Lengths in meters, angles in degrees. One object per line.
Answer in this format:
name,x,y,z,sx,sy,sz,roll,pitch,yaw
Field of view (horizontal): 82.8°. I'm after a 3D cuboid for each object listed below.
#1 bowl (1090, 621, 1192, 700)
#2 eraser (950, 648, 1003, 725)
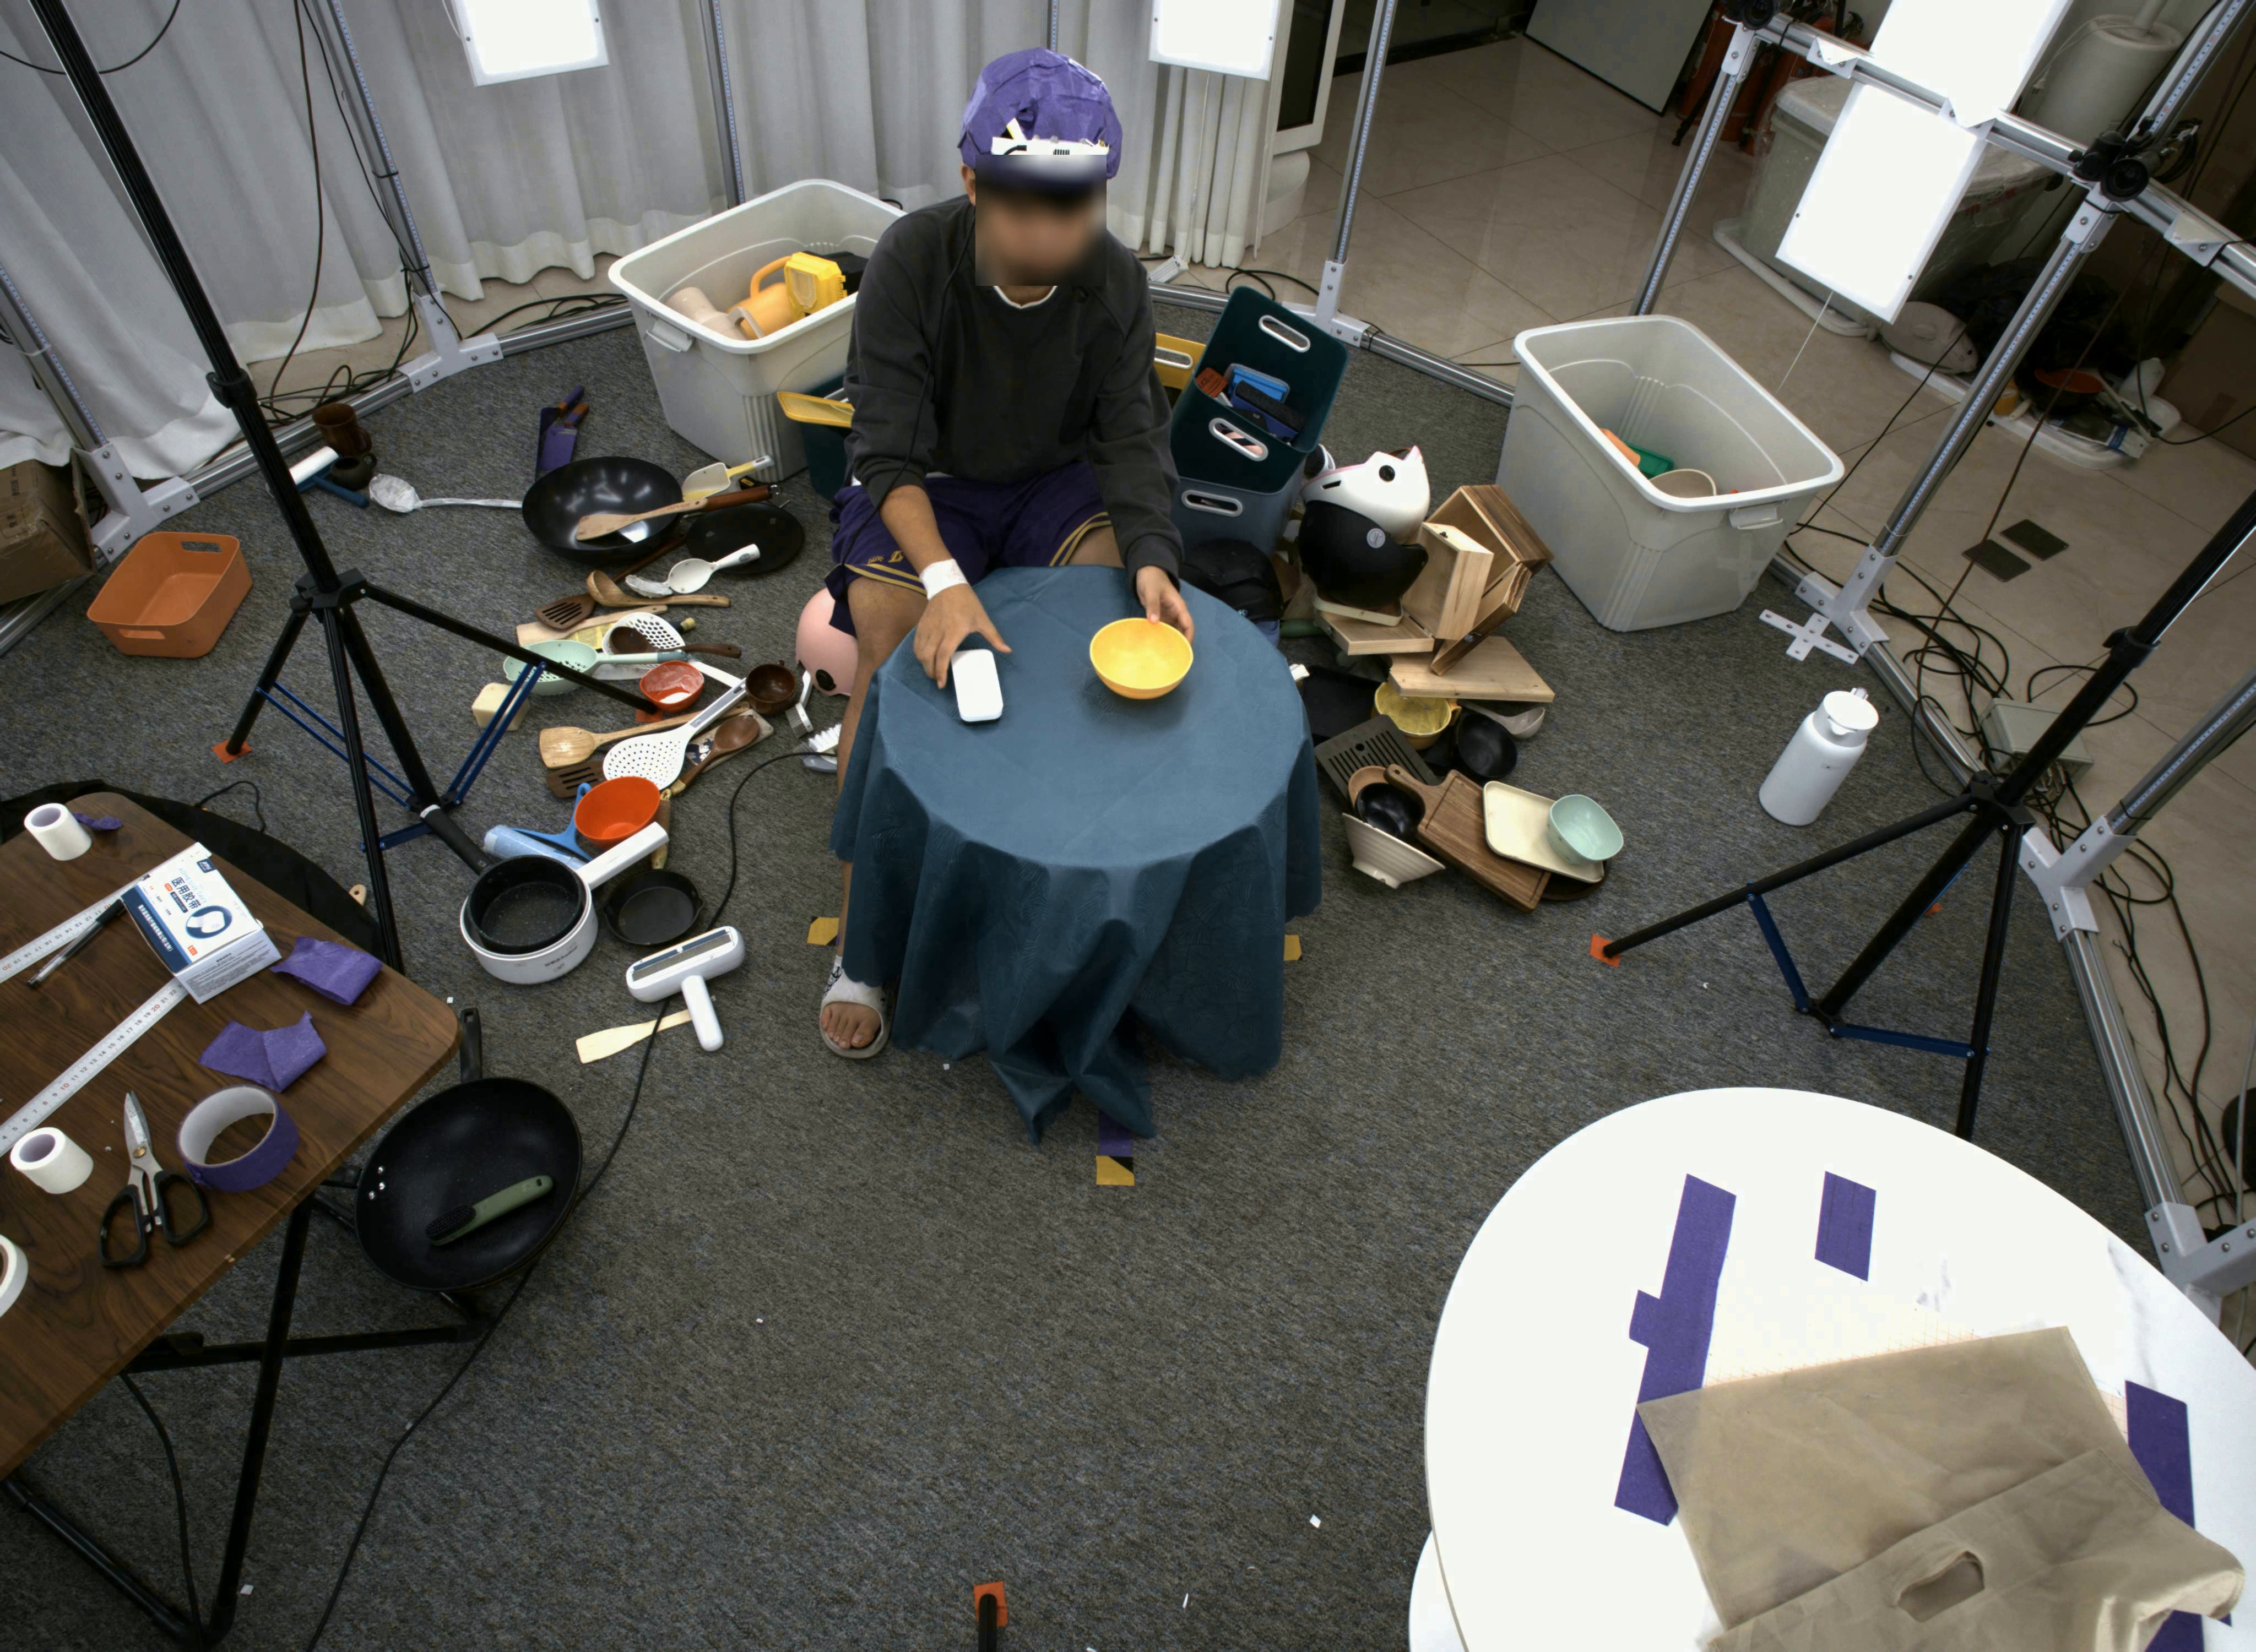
bowl,0.016,-0.225,1.828,0.145,0.058,0.149,2,46,-2
eraser,-0.212,-0.199,1.804,0.063,0.034,0.134,-6,51,-10
